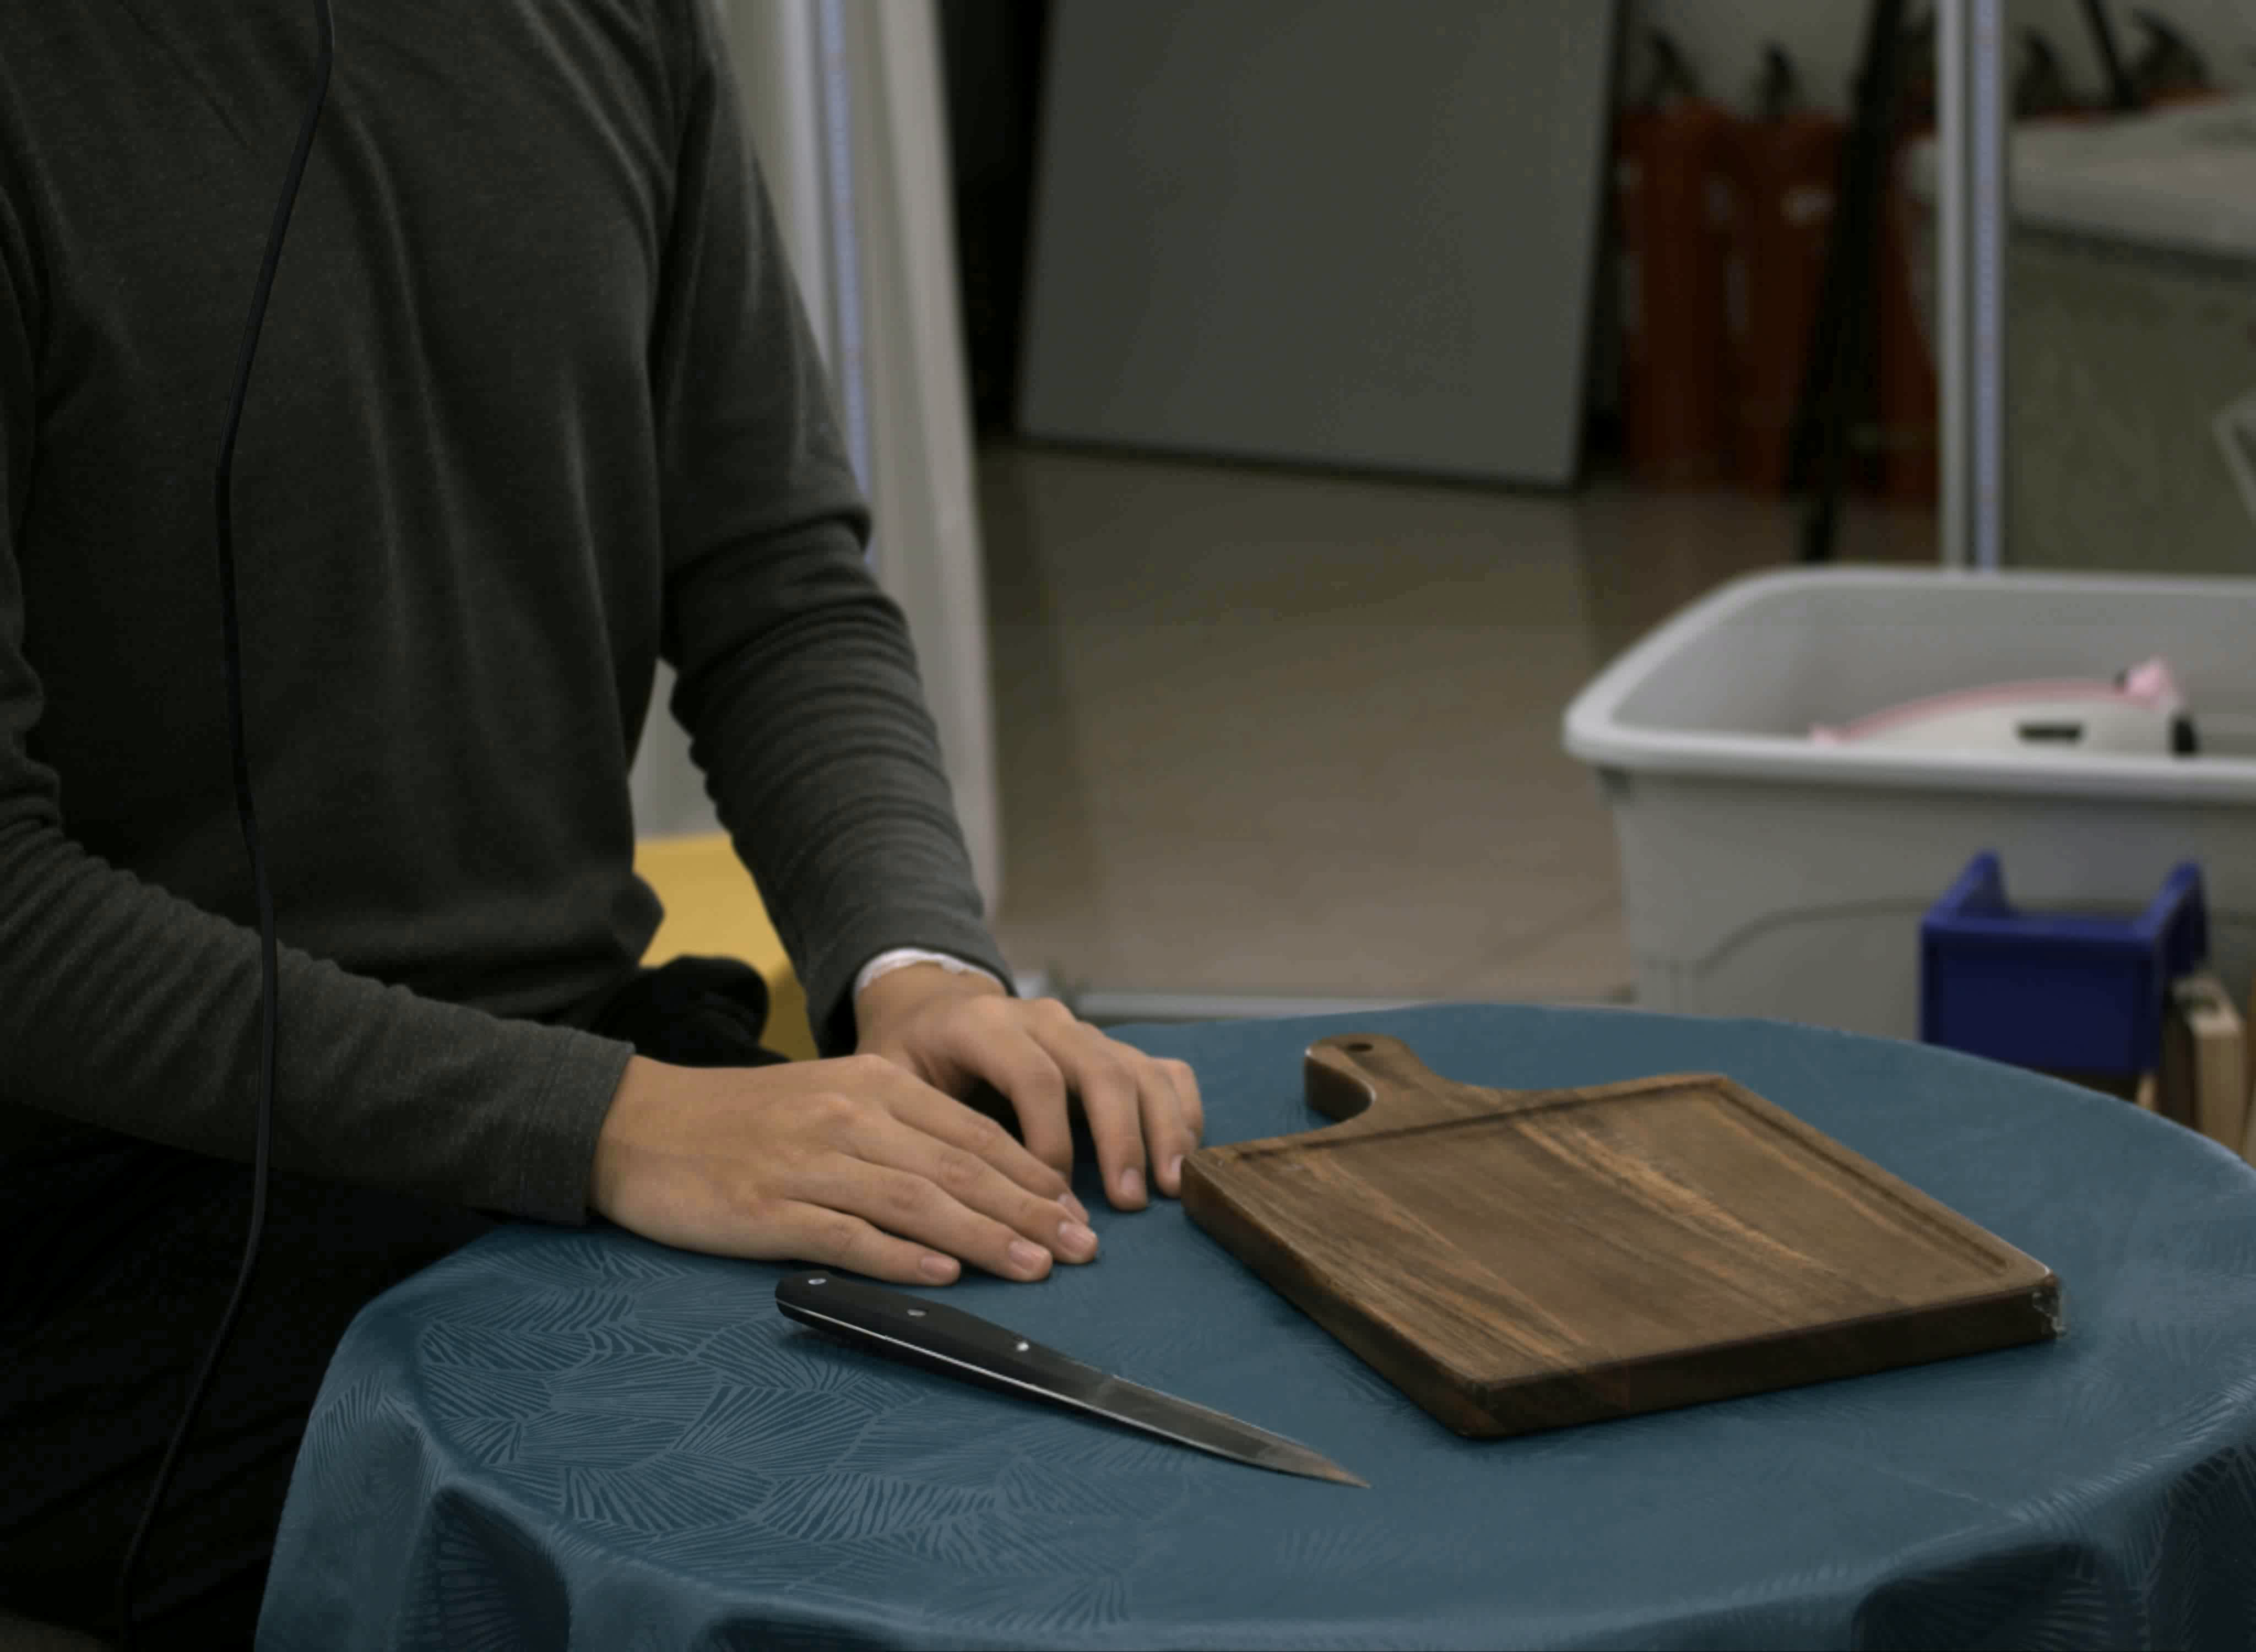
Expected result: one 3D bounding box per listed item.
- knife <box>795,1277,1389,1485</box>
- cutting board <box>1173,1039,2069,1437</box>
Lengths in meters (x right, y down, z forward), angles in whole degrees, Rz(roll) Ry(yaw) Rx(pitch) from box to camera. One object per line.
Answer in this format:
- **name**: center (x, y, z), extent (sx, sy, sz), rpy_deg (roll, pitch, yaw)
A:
- **knife**: center (-0.016, 0.165, 1.577), extent (0.240, 0.016, 0.024), rpy_deg (12, 23, 43)
- **cutting board**: center (0.130, 0.118, 1.707), extent (0.197, 0.023, 0.355), rpy_deg (-8, 14, -18)
